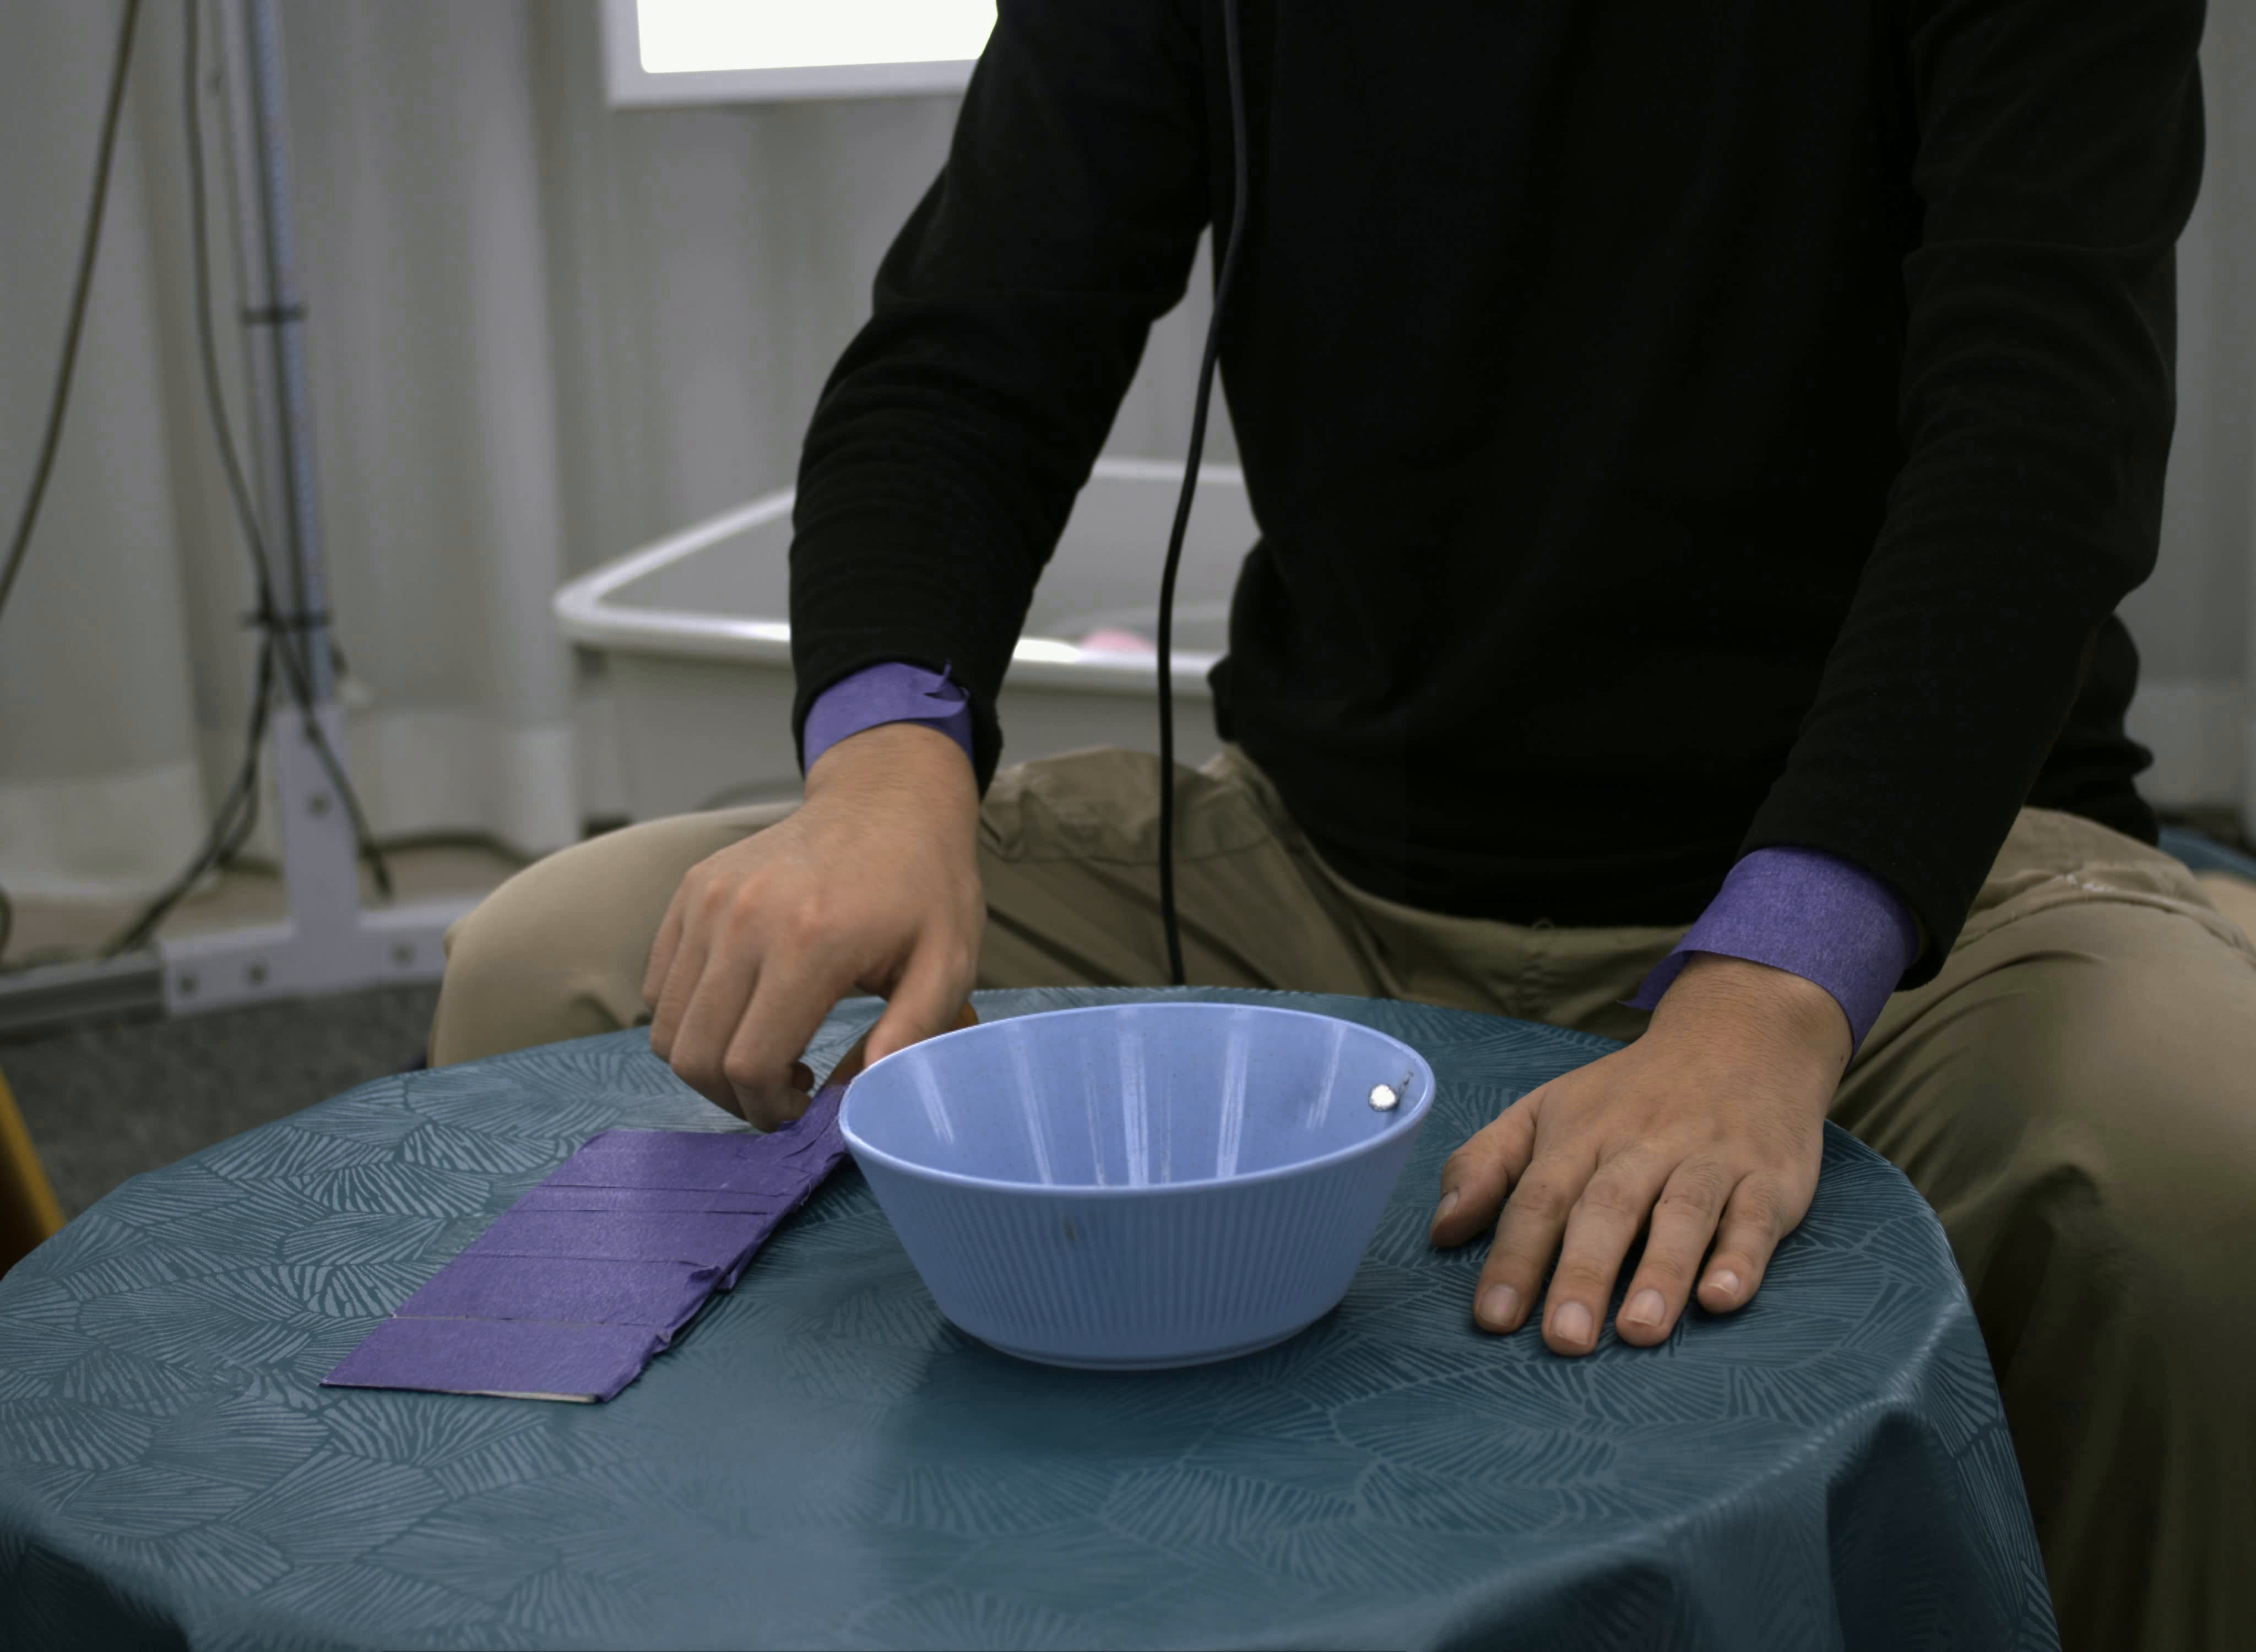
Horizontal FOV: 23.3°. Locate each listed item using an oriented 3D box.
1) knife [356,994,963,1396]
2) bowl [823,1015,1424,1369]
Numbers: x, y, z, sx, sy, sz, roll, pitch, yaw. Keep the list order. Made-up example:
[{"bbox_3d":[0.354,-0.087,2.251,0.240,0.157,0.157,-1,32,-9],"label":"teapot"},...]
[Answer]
[{"bbox_3d":[-0.143,0.112,1.703,0.104,0.032,0.316,2,16,18],"label":"knife"},{"bbox_3d":[-0.001,0.109,1.600,0.175,0.070,0.177,-1,14,0],"label":"bowl"}]
